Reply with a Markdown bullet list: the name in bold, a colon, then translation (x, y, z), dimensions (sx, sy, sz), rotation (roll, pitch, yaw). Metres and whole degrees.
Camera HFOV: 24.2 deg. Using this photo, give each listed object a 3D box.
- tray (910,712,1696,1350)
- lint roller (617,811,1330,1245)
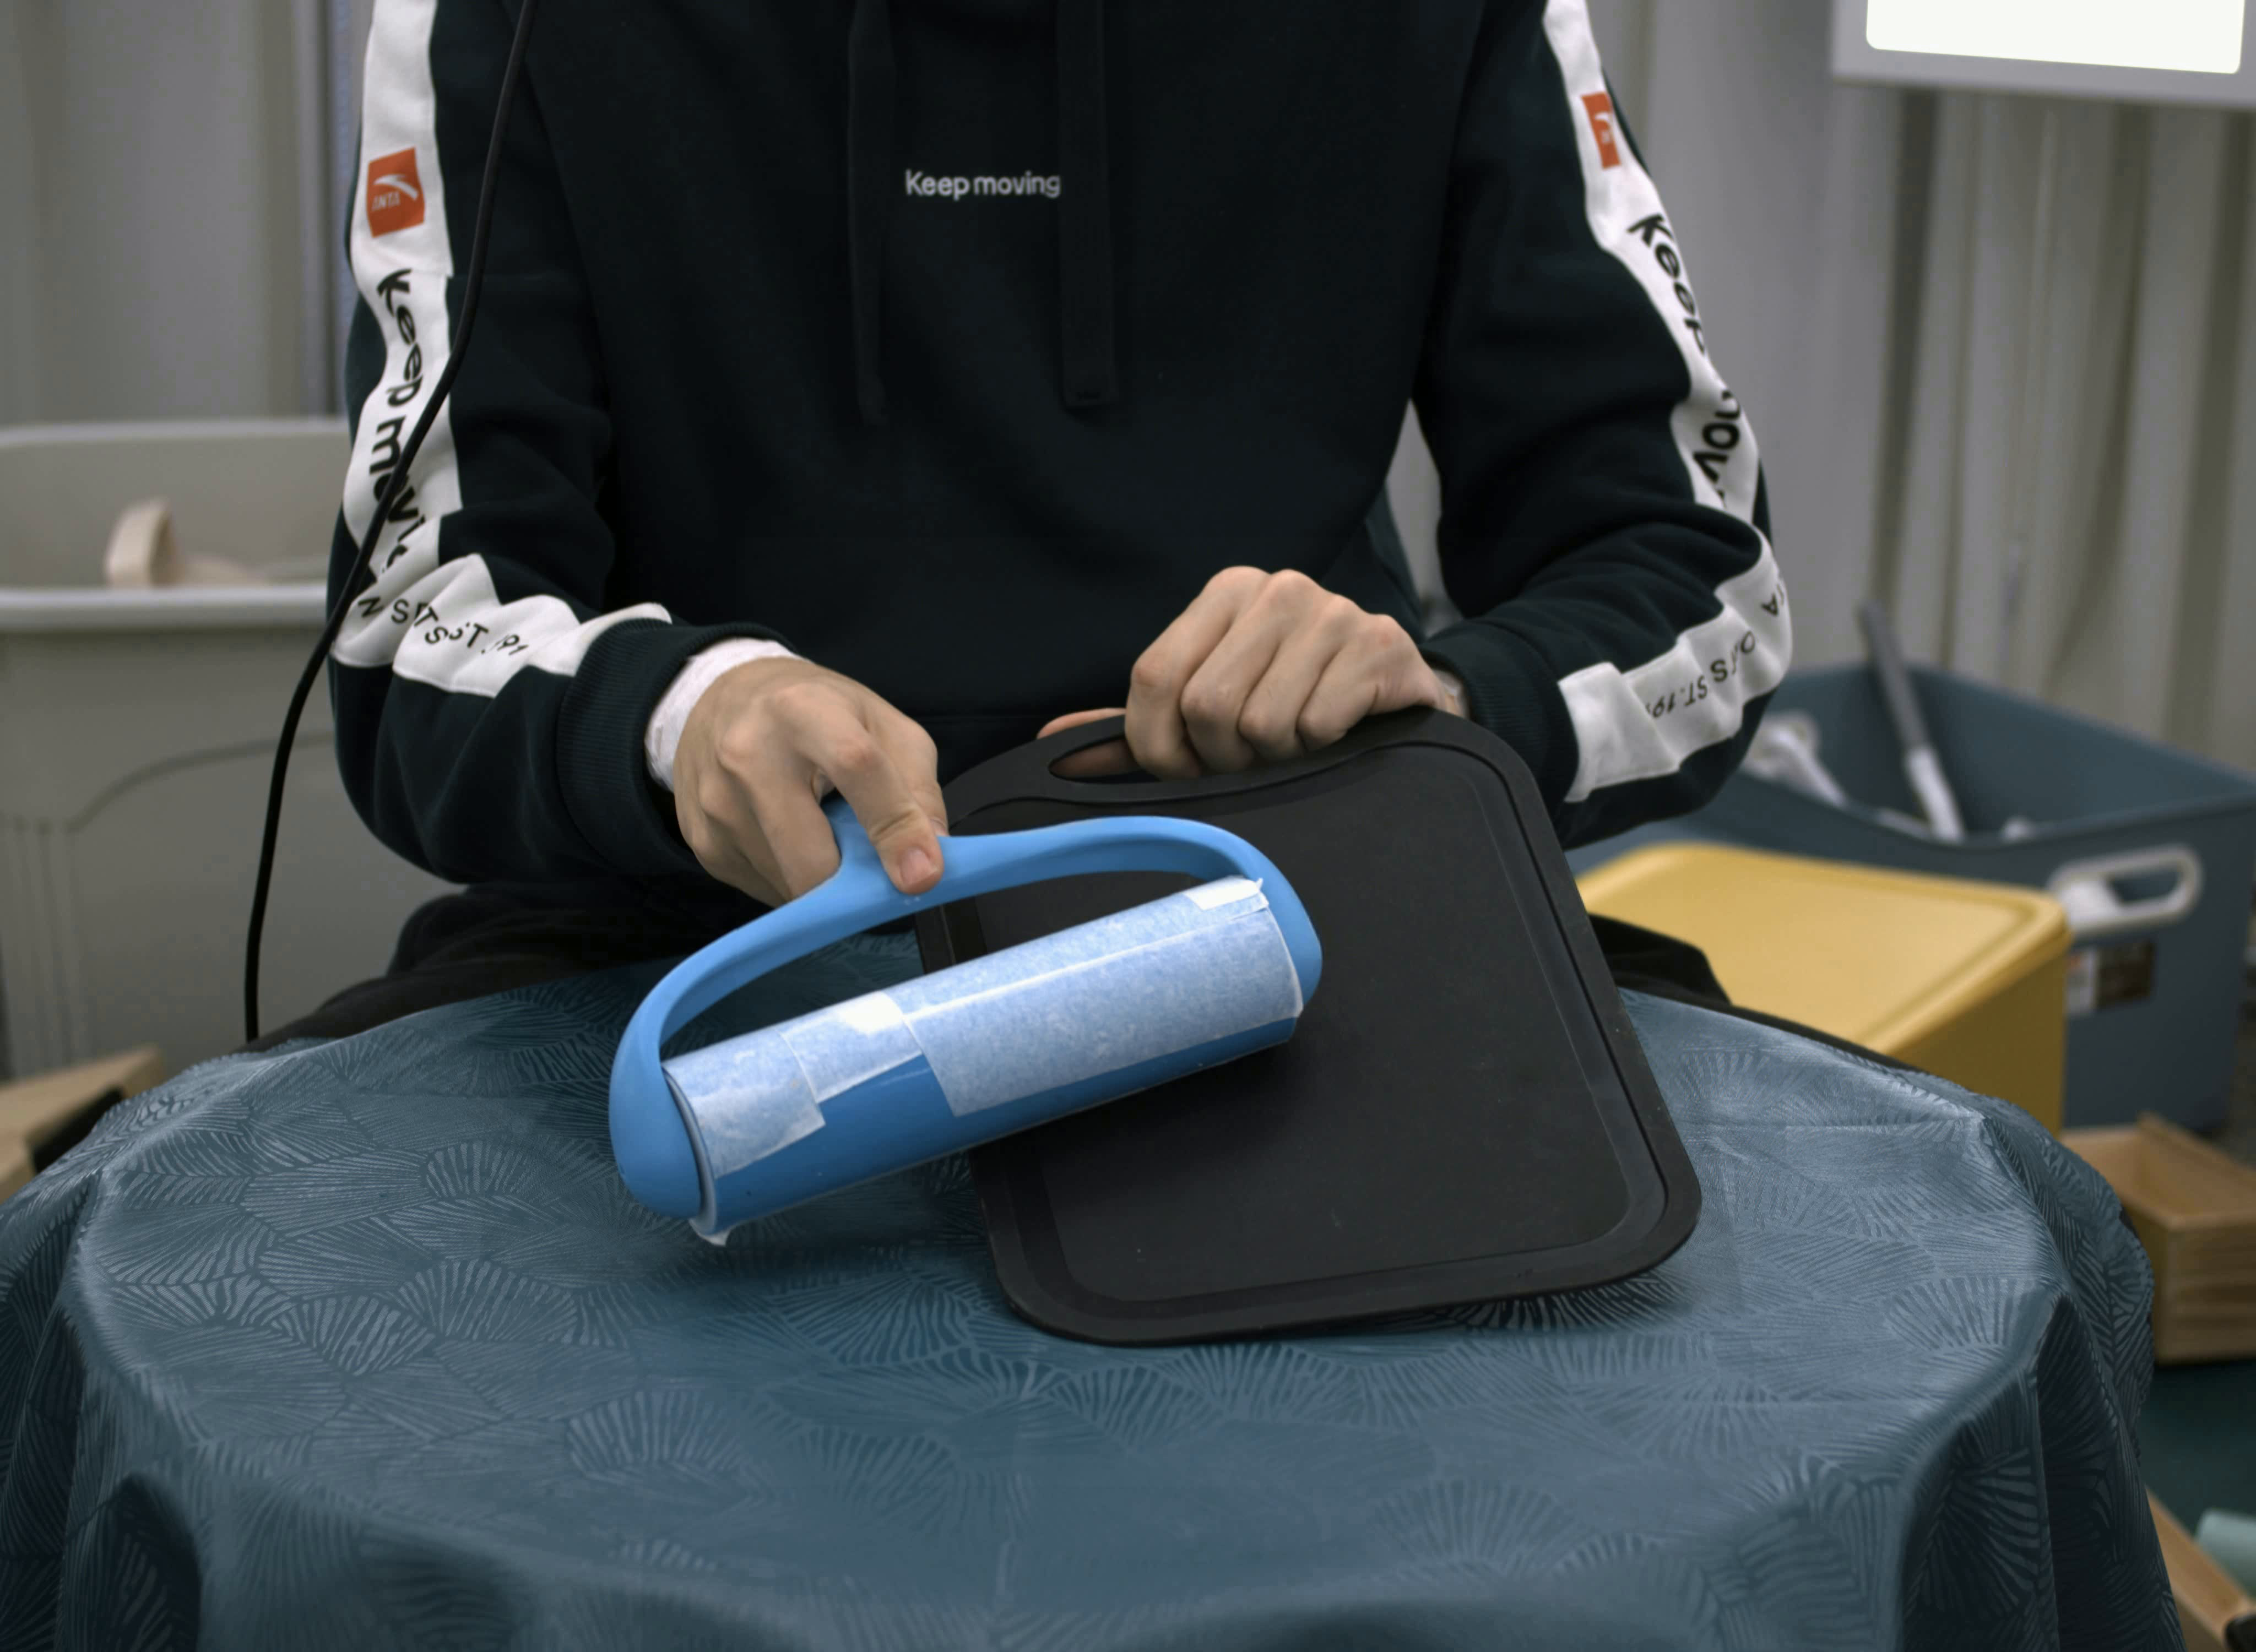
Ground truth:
- **tray**: translation (0.045, 0.052, 1.631), dimensions (0.211, 0.010, 0.322), rotation (-7, 34, -6)
- **lint roller**: translation (-0.072, 0.035, 1.610), dimensions (0.229, 0.069, 0.178), rotation (-21, 44, -21)
